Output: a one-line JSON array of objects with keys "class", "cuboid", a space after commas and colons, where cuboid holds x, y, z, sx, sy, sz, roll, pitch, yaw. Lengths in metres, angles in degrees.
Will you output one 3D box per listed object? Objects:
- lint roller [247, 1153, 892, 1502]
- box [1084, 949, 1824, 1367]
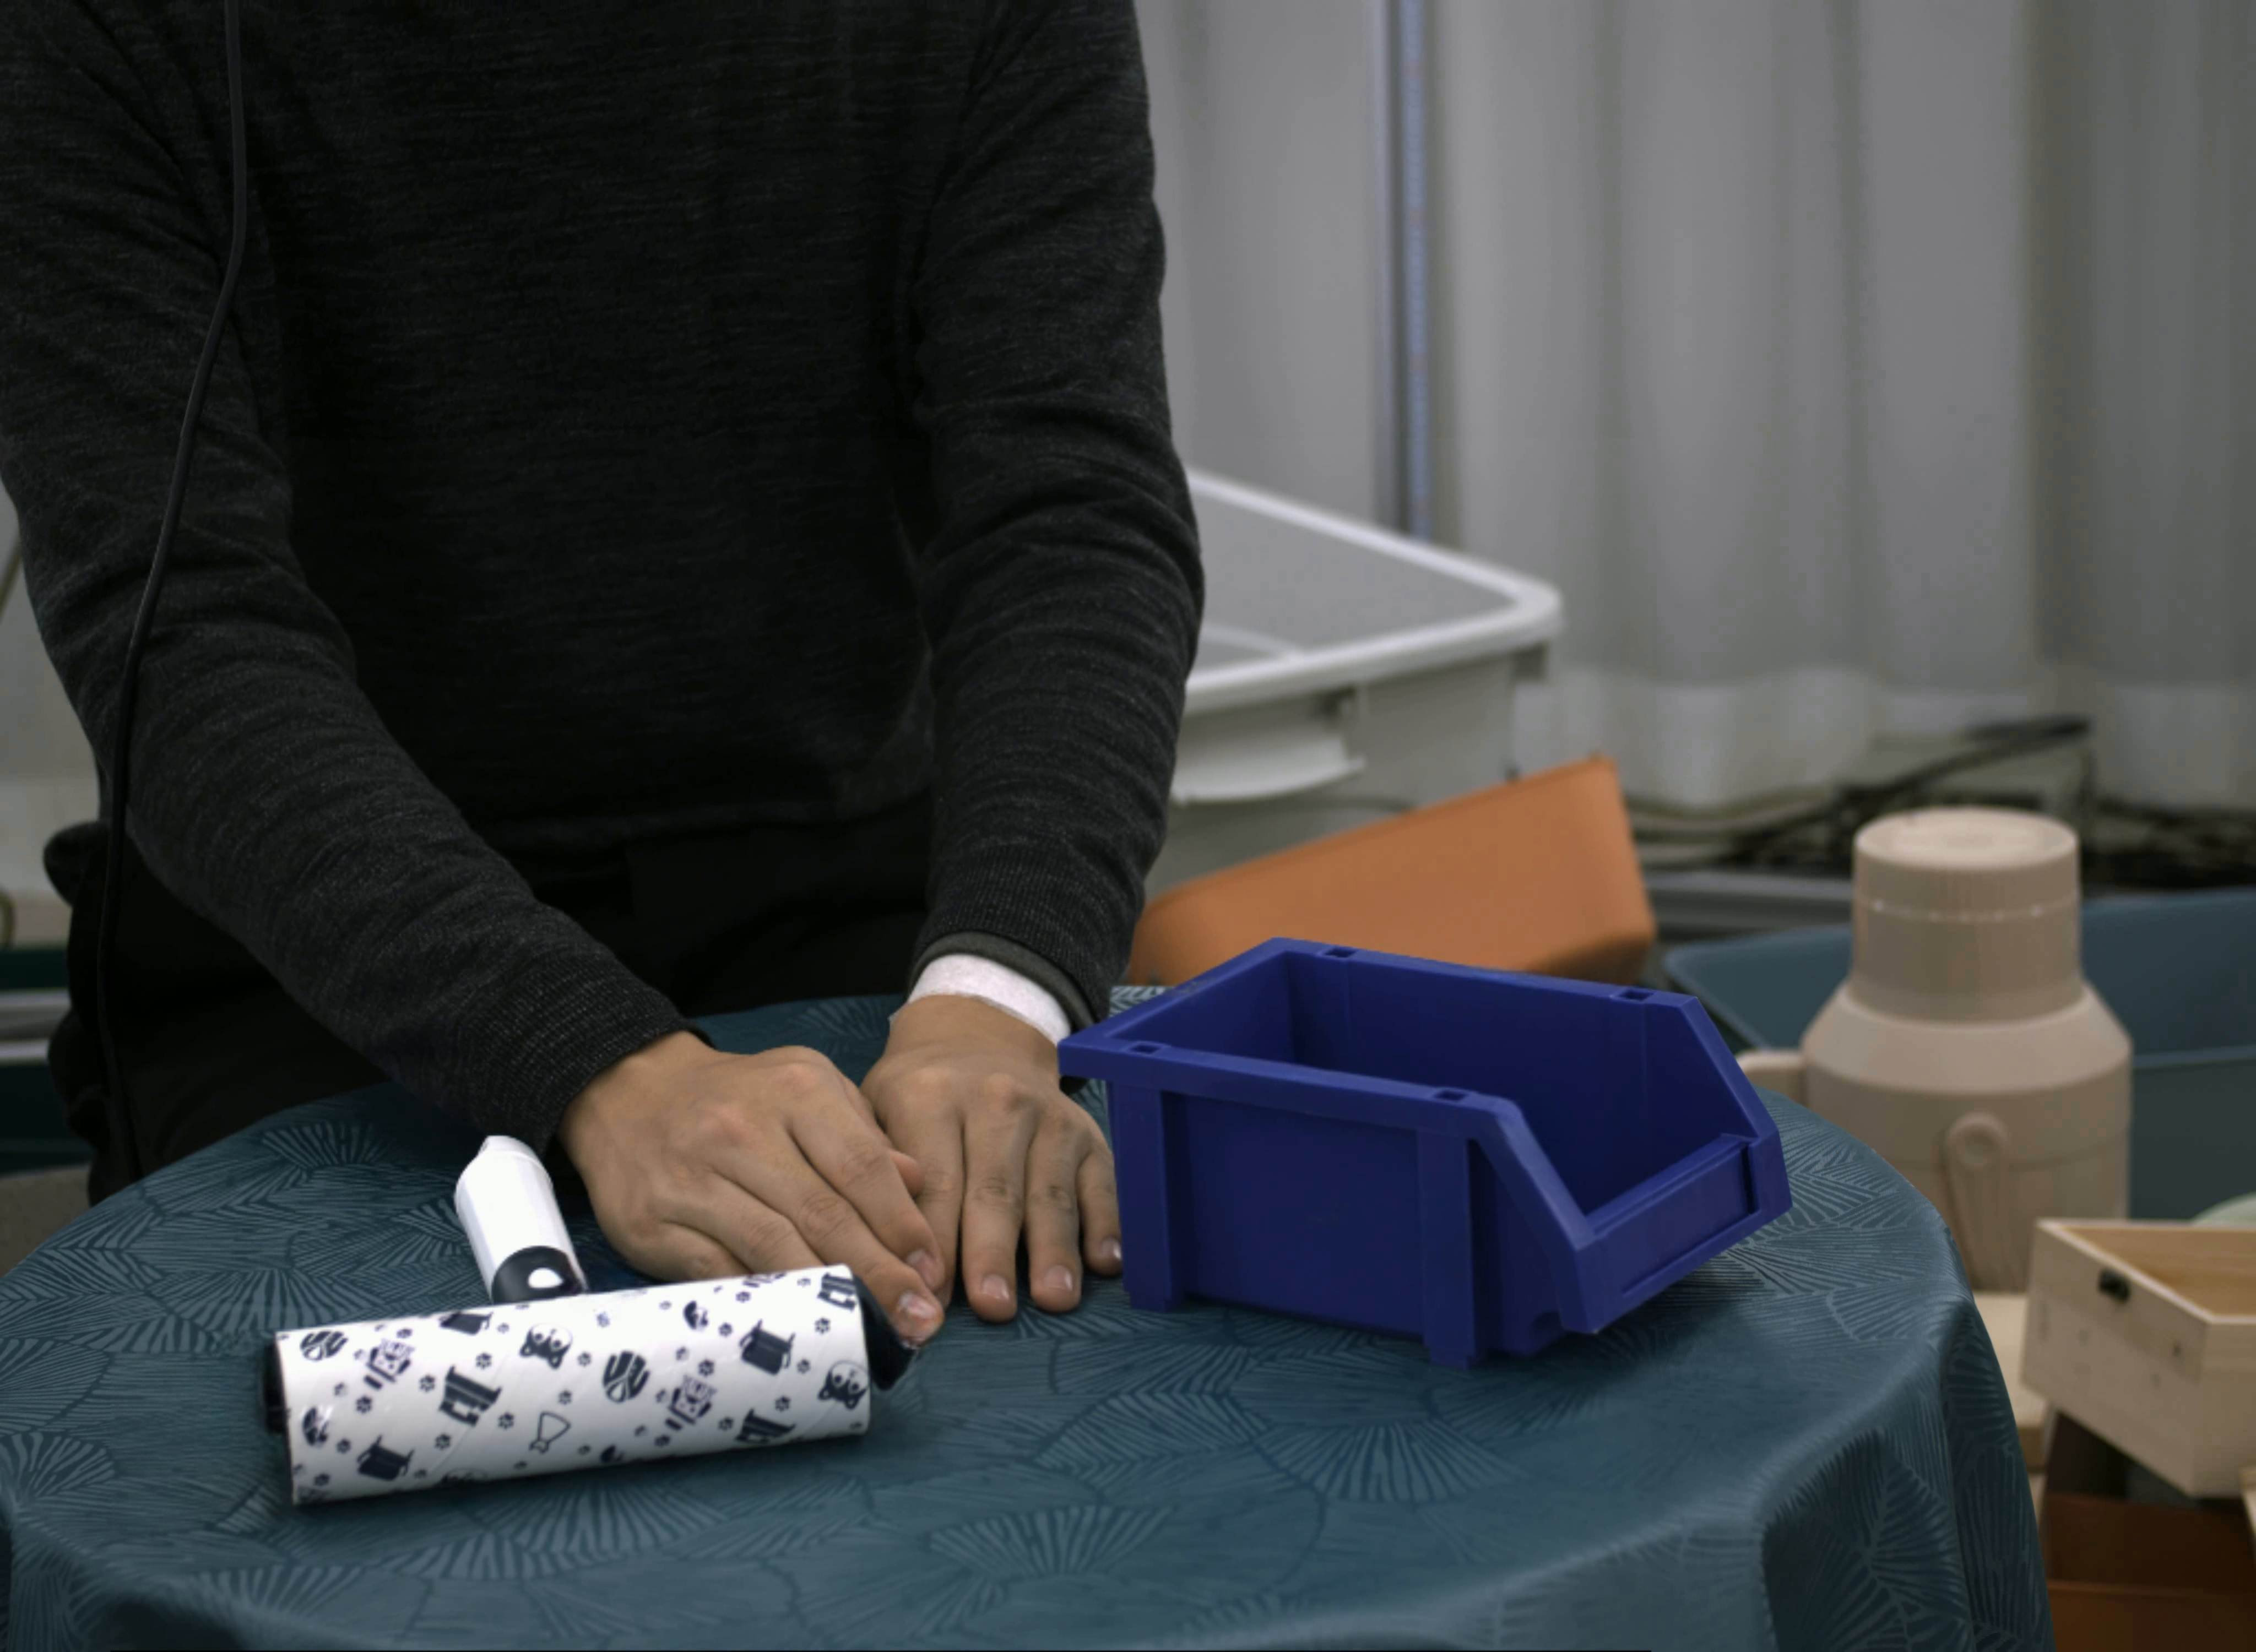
[{"class": "lint roller", "cuboid": [-0.176, 0.131, 1.602, 0.175, 0.050, 0.249, -7, 14, -11]}, {"class": "box", "cuboid": [0.097, 0.096, 1.606, 0.180, 0.081, 0.124, 5, 15, 36]}]
